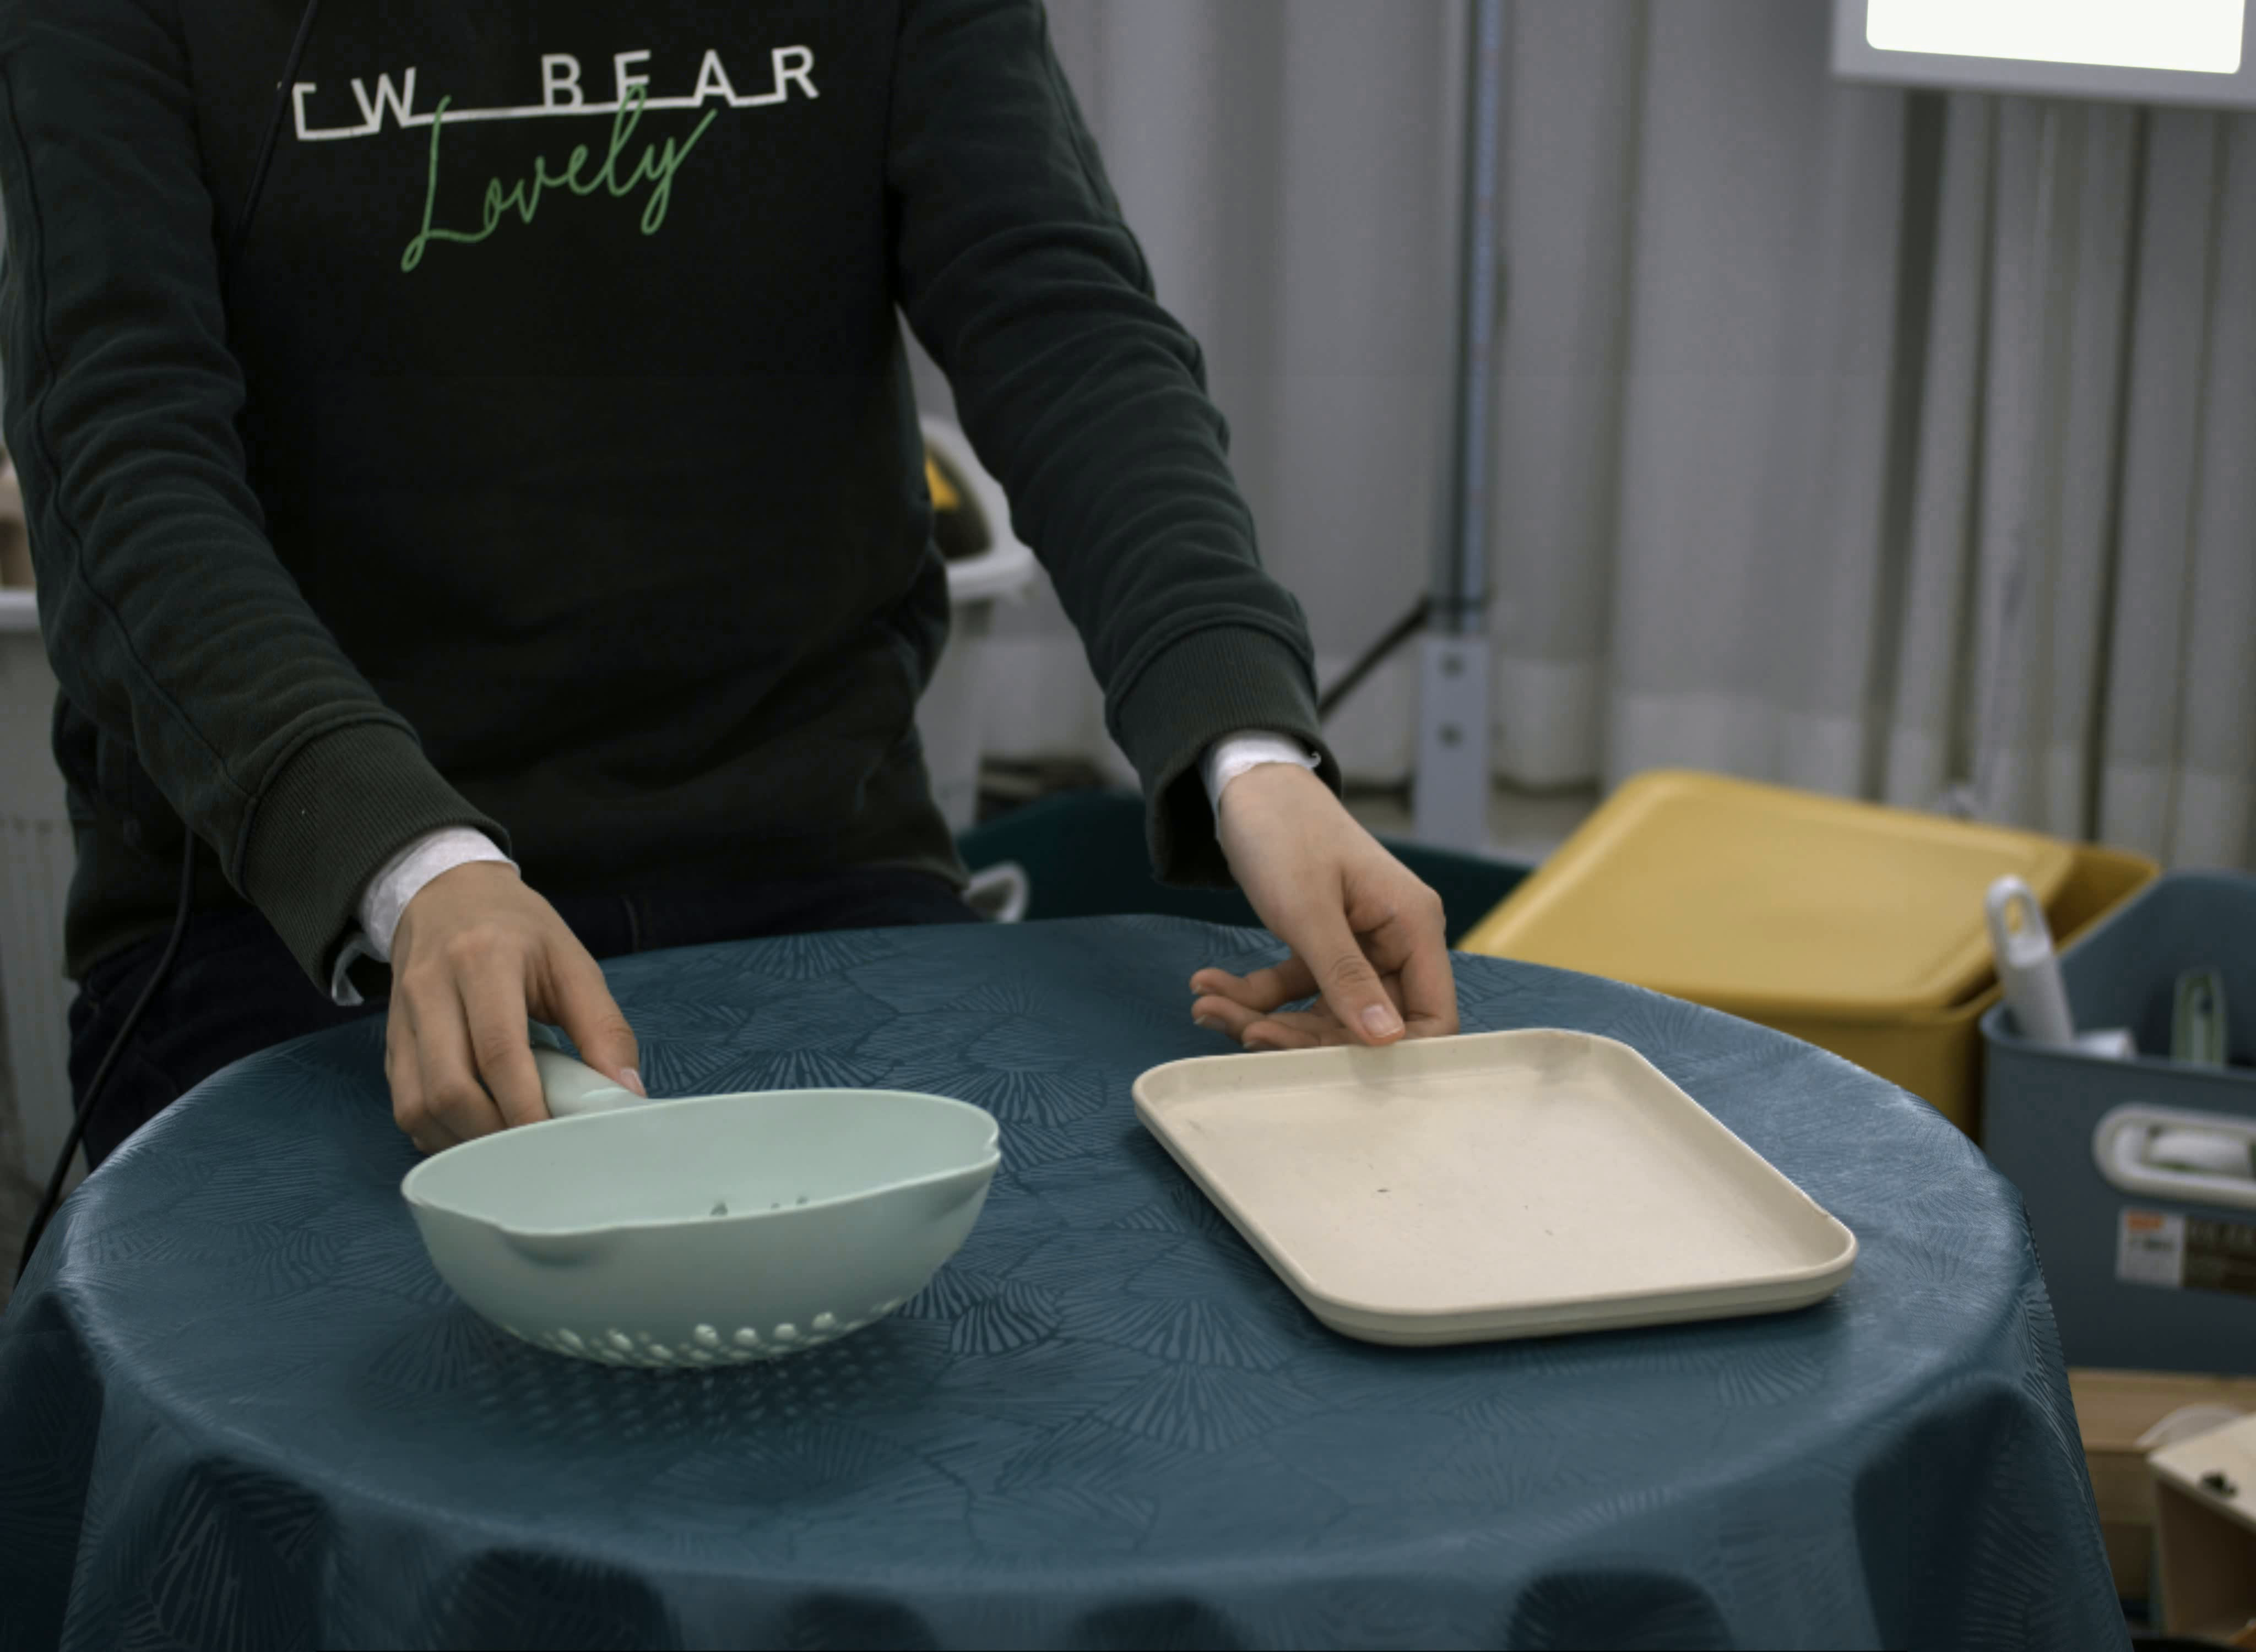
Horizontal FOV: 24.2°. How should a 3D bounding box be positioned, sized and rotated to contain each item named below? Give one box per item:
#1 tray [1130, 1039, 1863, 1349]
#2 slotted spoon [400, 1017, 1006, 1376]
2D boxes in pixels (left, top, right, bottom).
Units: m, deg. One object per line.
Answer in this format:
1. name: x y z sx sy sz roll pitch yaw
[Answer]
1. tray: 0.108 0.111 1.608 0.171 0.017 0.237 -4 16 -16
2. slotted spoon: -0.151 0.093 1.569 0.170 0.076 0.355 -7 17 -19
